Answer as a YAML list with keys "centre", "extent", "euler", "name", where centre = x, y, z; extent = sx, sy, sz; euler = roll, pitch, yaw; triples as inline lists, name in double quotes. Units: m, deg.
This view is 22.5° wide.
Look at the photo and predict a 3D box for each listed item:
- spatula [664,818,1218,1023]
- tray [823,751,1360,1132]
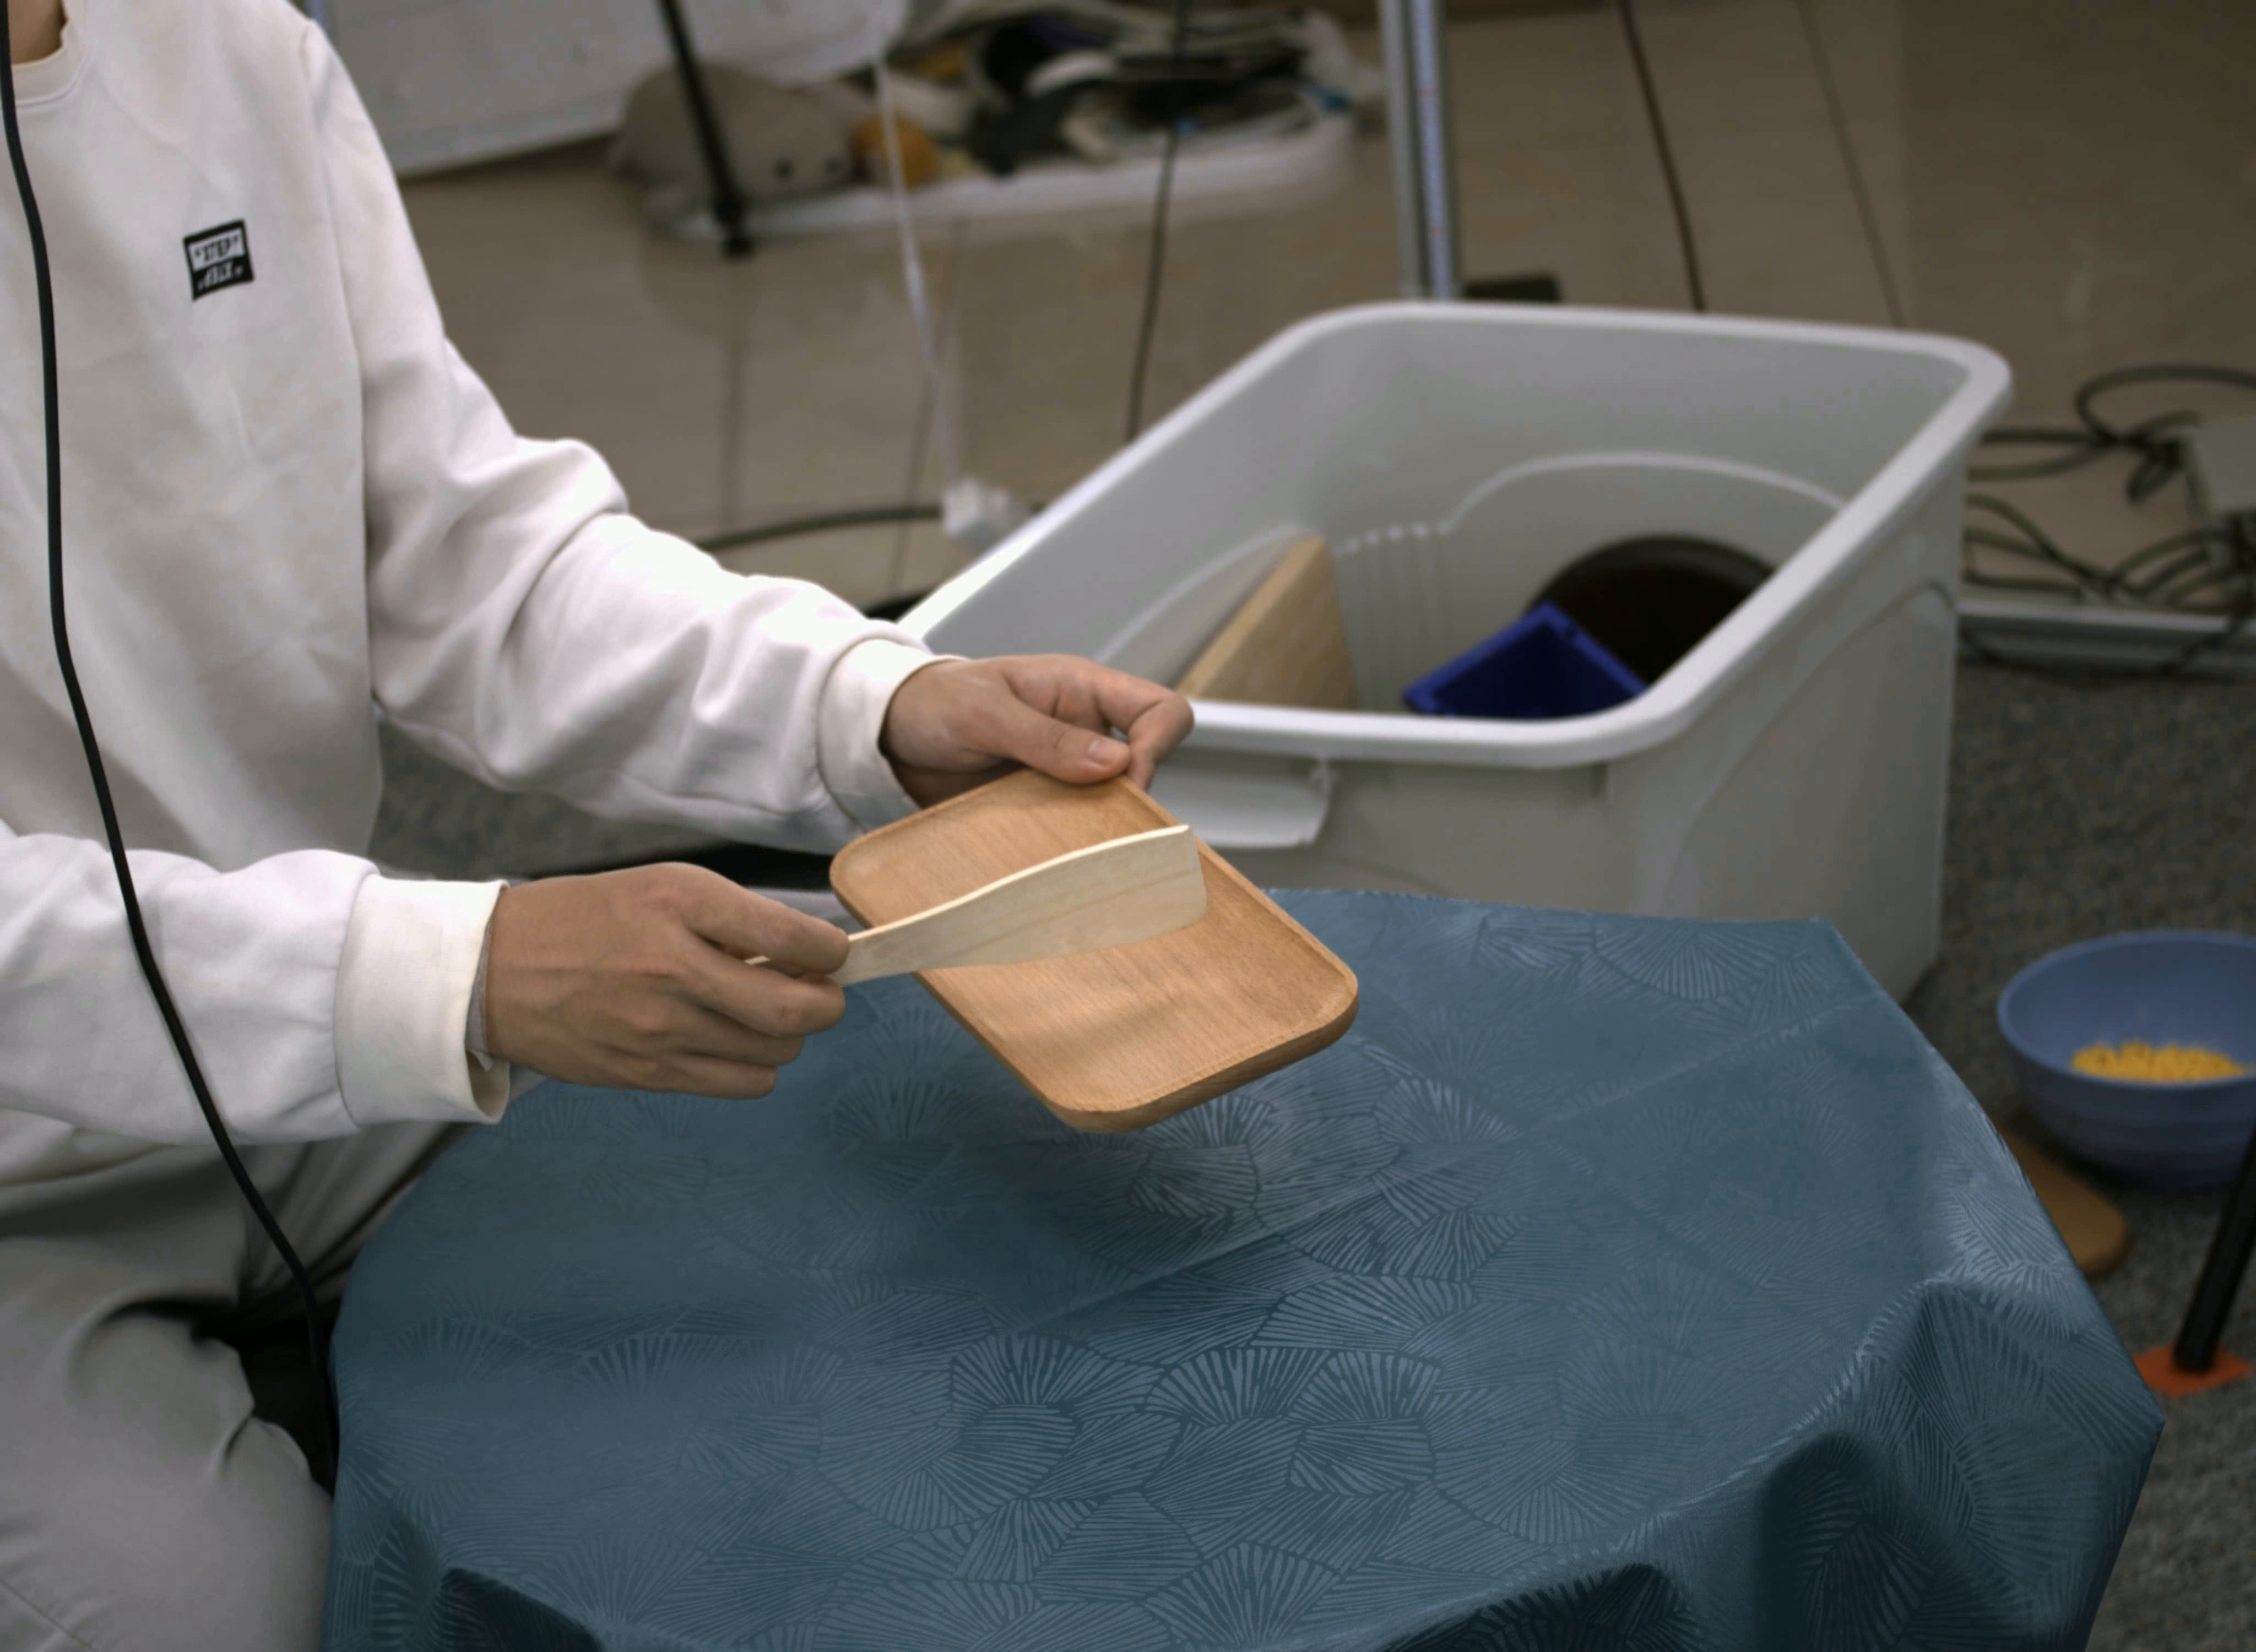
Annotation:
- centre: [-0.070, 0.040, 2.084]
  extent: [0.207, 0.051, 0.005]
  euler: [-15, 41, -2]
  name: "spatula"
- centre: [-0.017, 0.042, 2.151]
  extent: [0.130, 0.023, 0.247]
  euler: [-20, 31, -19]
  name: "tray"
